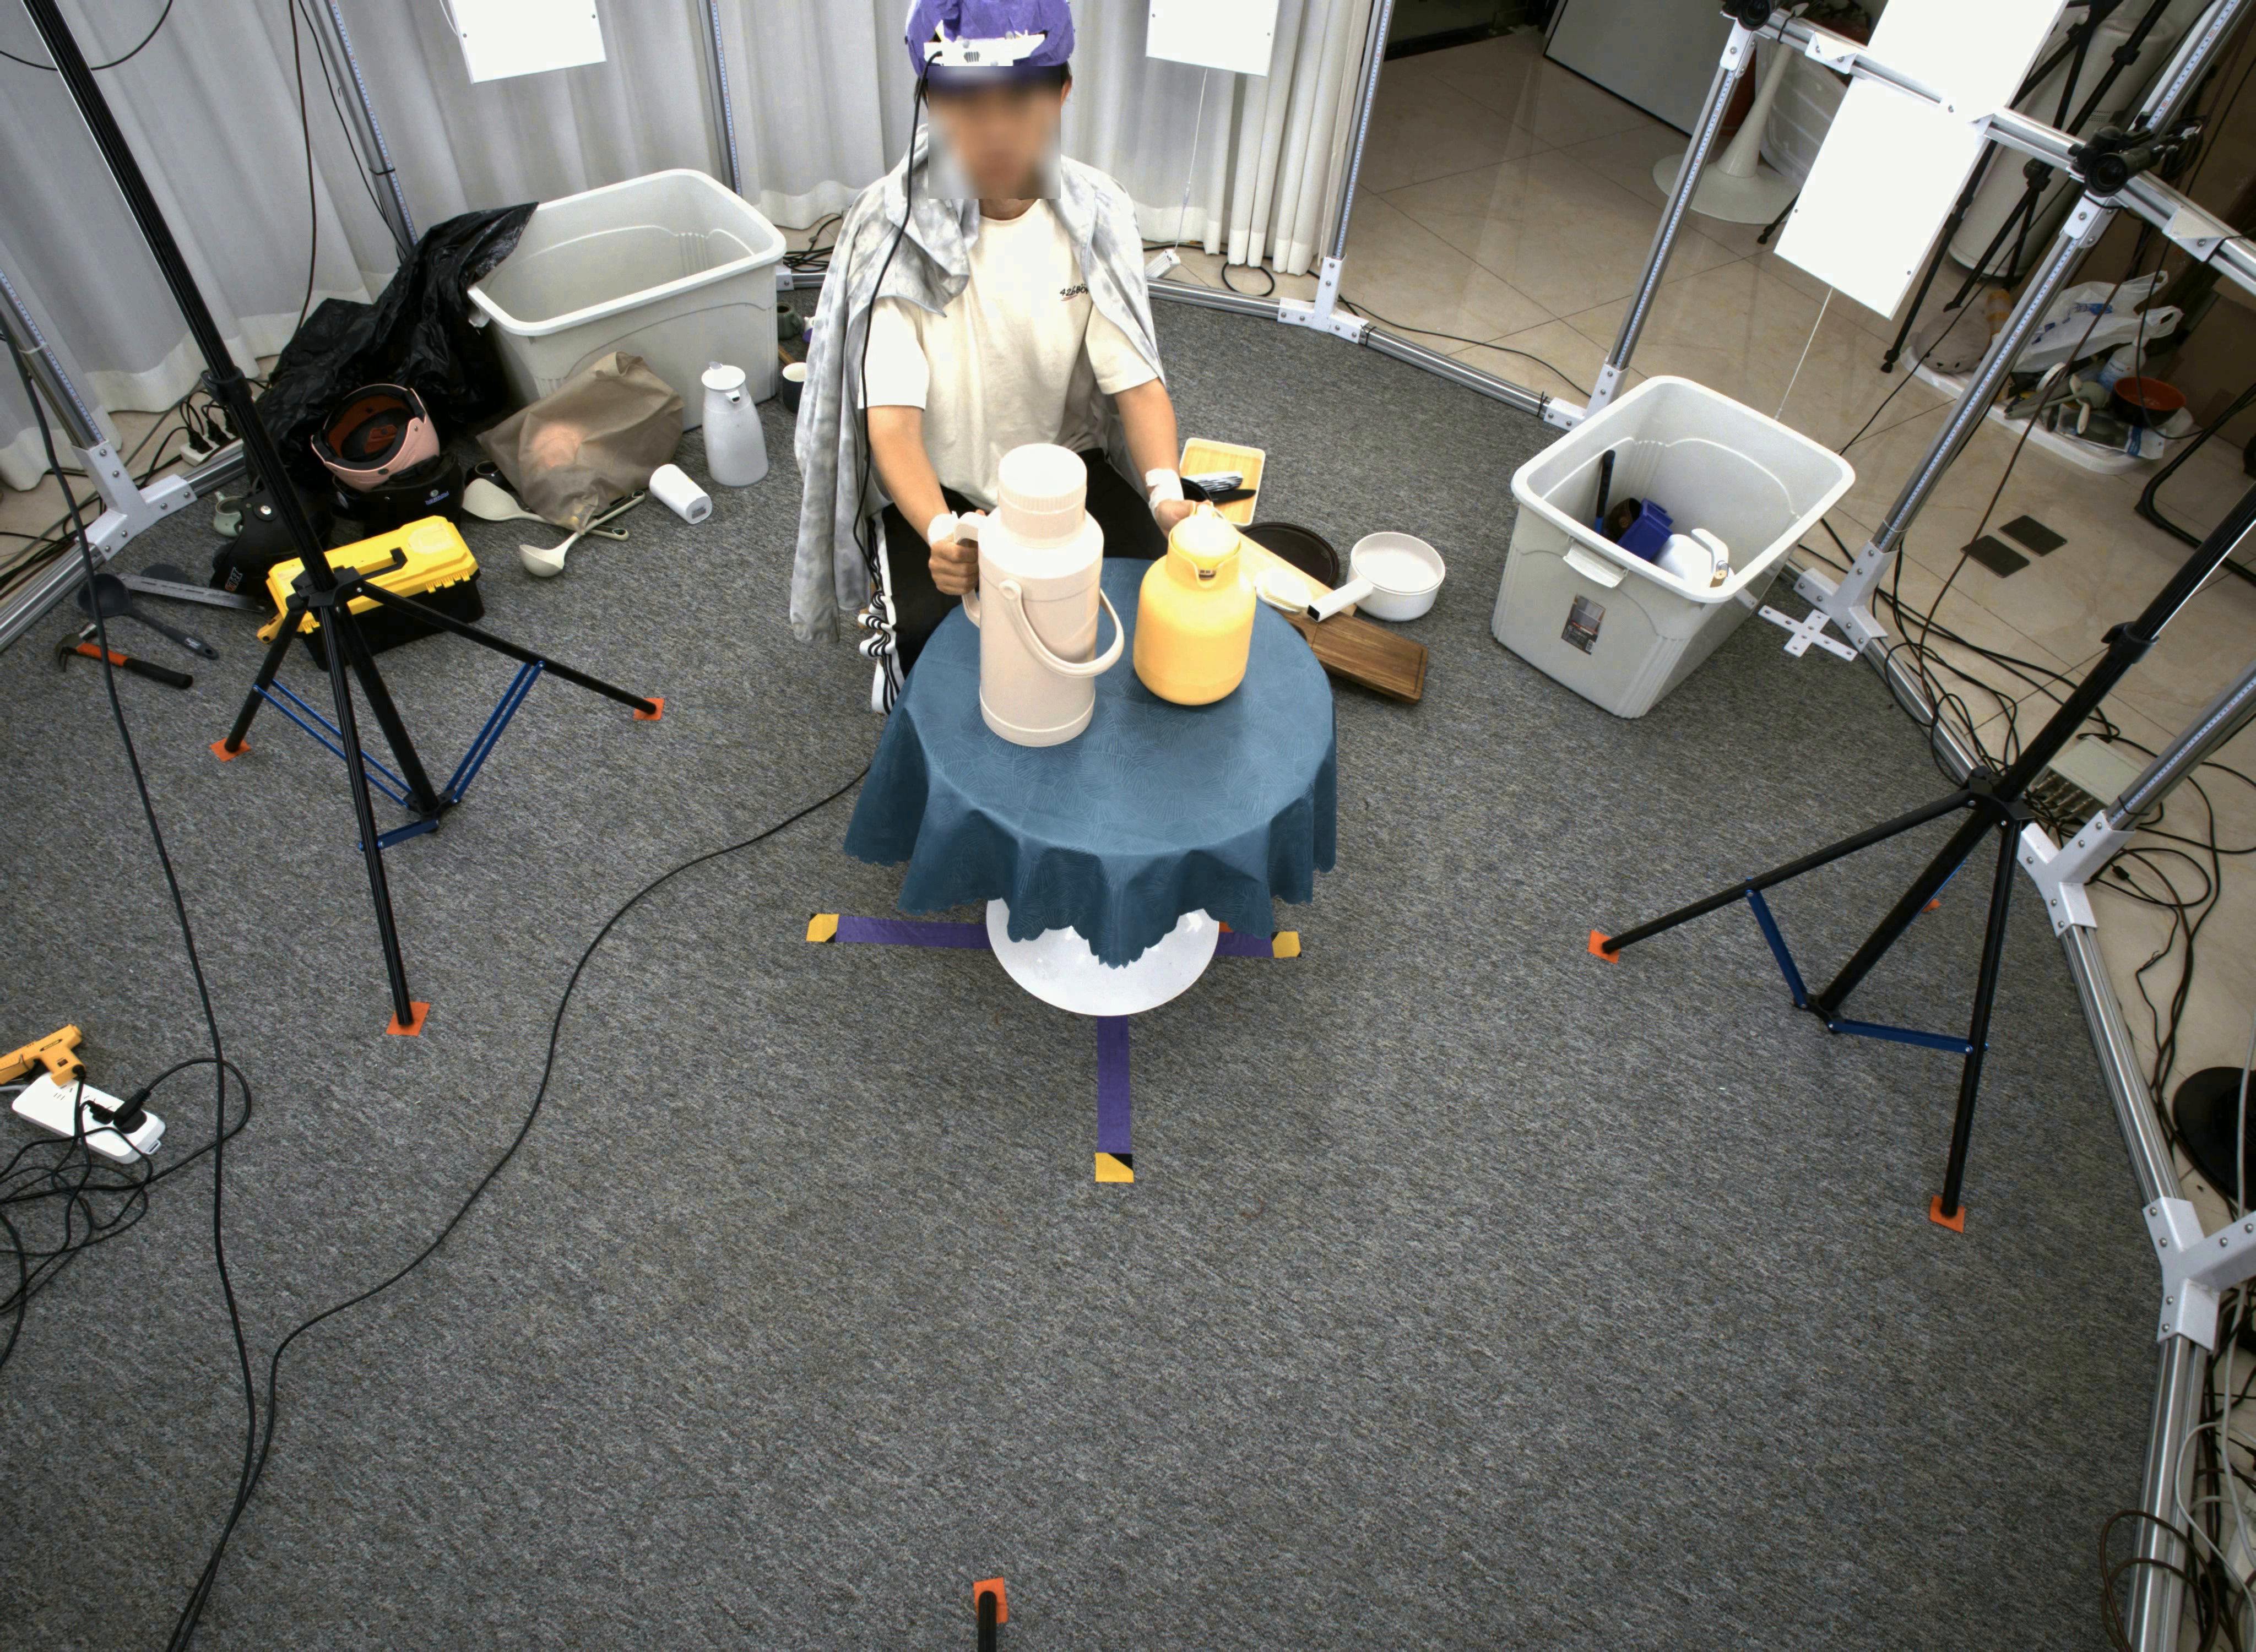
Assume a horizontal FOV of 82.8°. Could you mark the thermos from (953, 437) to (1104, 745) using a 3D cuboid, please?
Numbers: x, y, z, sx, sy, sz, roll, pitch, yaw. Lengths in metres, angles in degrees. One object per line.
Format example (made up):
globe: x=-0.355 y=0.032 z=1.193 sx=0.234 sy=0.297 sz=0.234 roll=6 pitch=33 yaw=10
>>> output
thermos: x=-0.127 y=-0.302 z=1.658 sx=0.208 sy=0.396 sz=0.178 roll=21 pitch=52 yaw=13

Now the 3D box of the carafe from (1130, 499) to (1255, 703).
carafe: x=0.094 y=-0.318 z=1.775 sx=0.163 sy=0.254 sz=0.207 roll=6 pitch=50 yaw=-3
